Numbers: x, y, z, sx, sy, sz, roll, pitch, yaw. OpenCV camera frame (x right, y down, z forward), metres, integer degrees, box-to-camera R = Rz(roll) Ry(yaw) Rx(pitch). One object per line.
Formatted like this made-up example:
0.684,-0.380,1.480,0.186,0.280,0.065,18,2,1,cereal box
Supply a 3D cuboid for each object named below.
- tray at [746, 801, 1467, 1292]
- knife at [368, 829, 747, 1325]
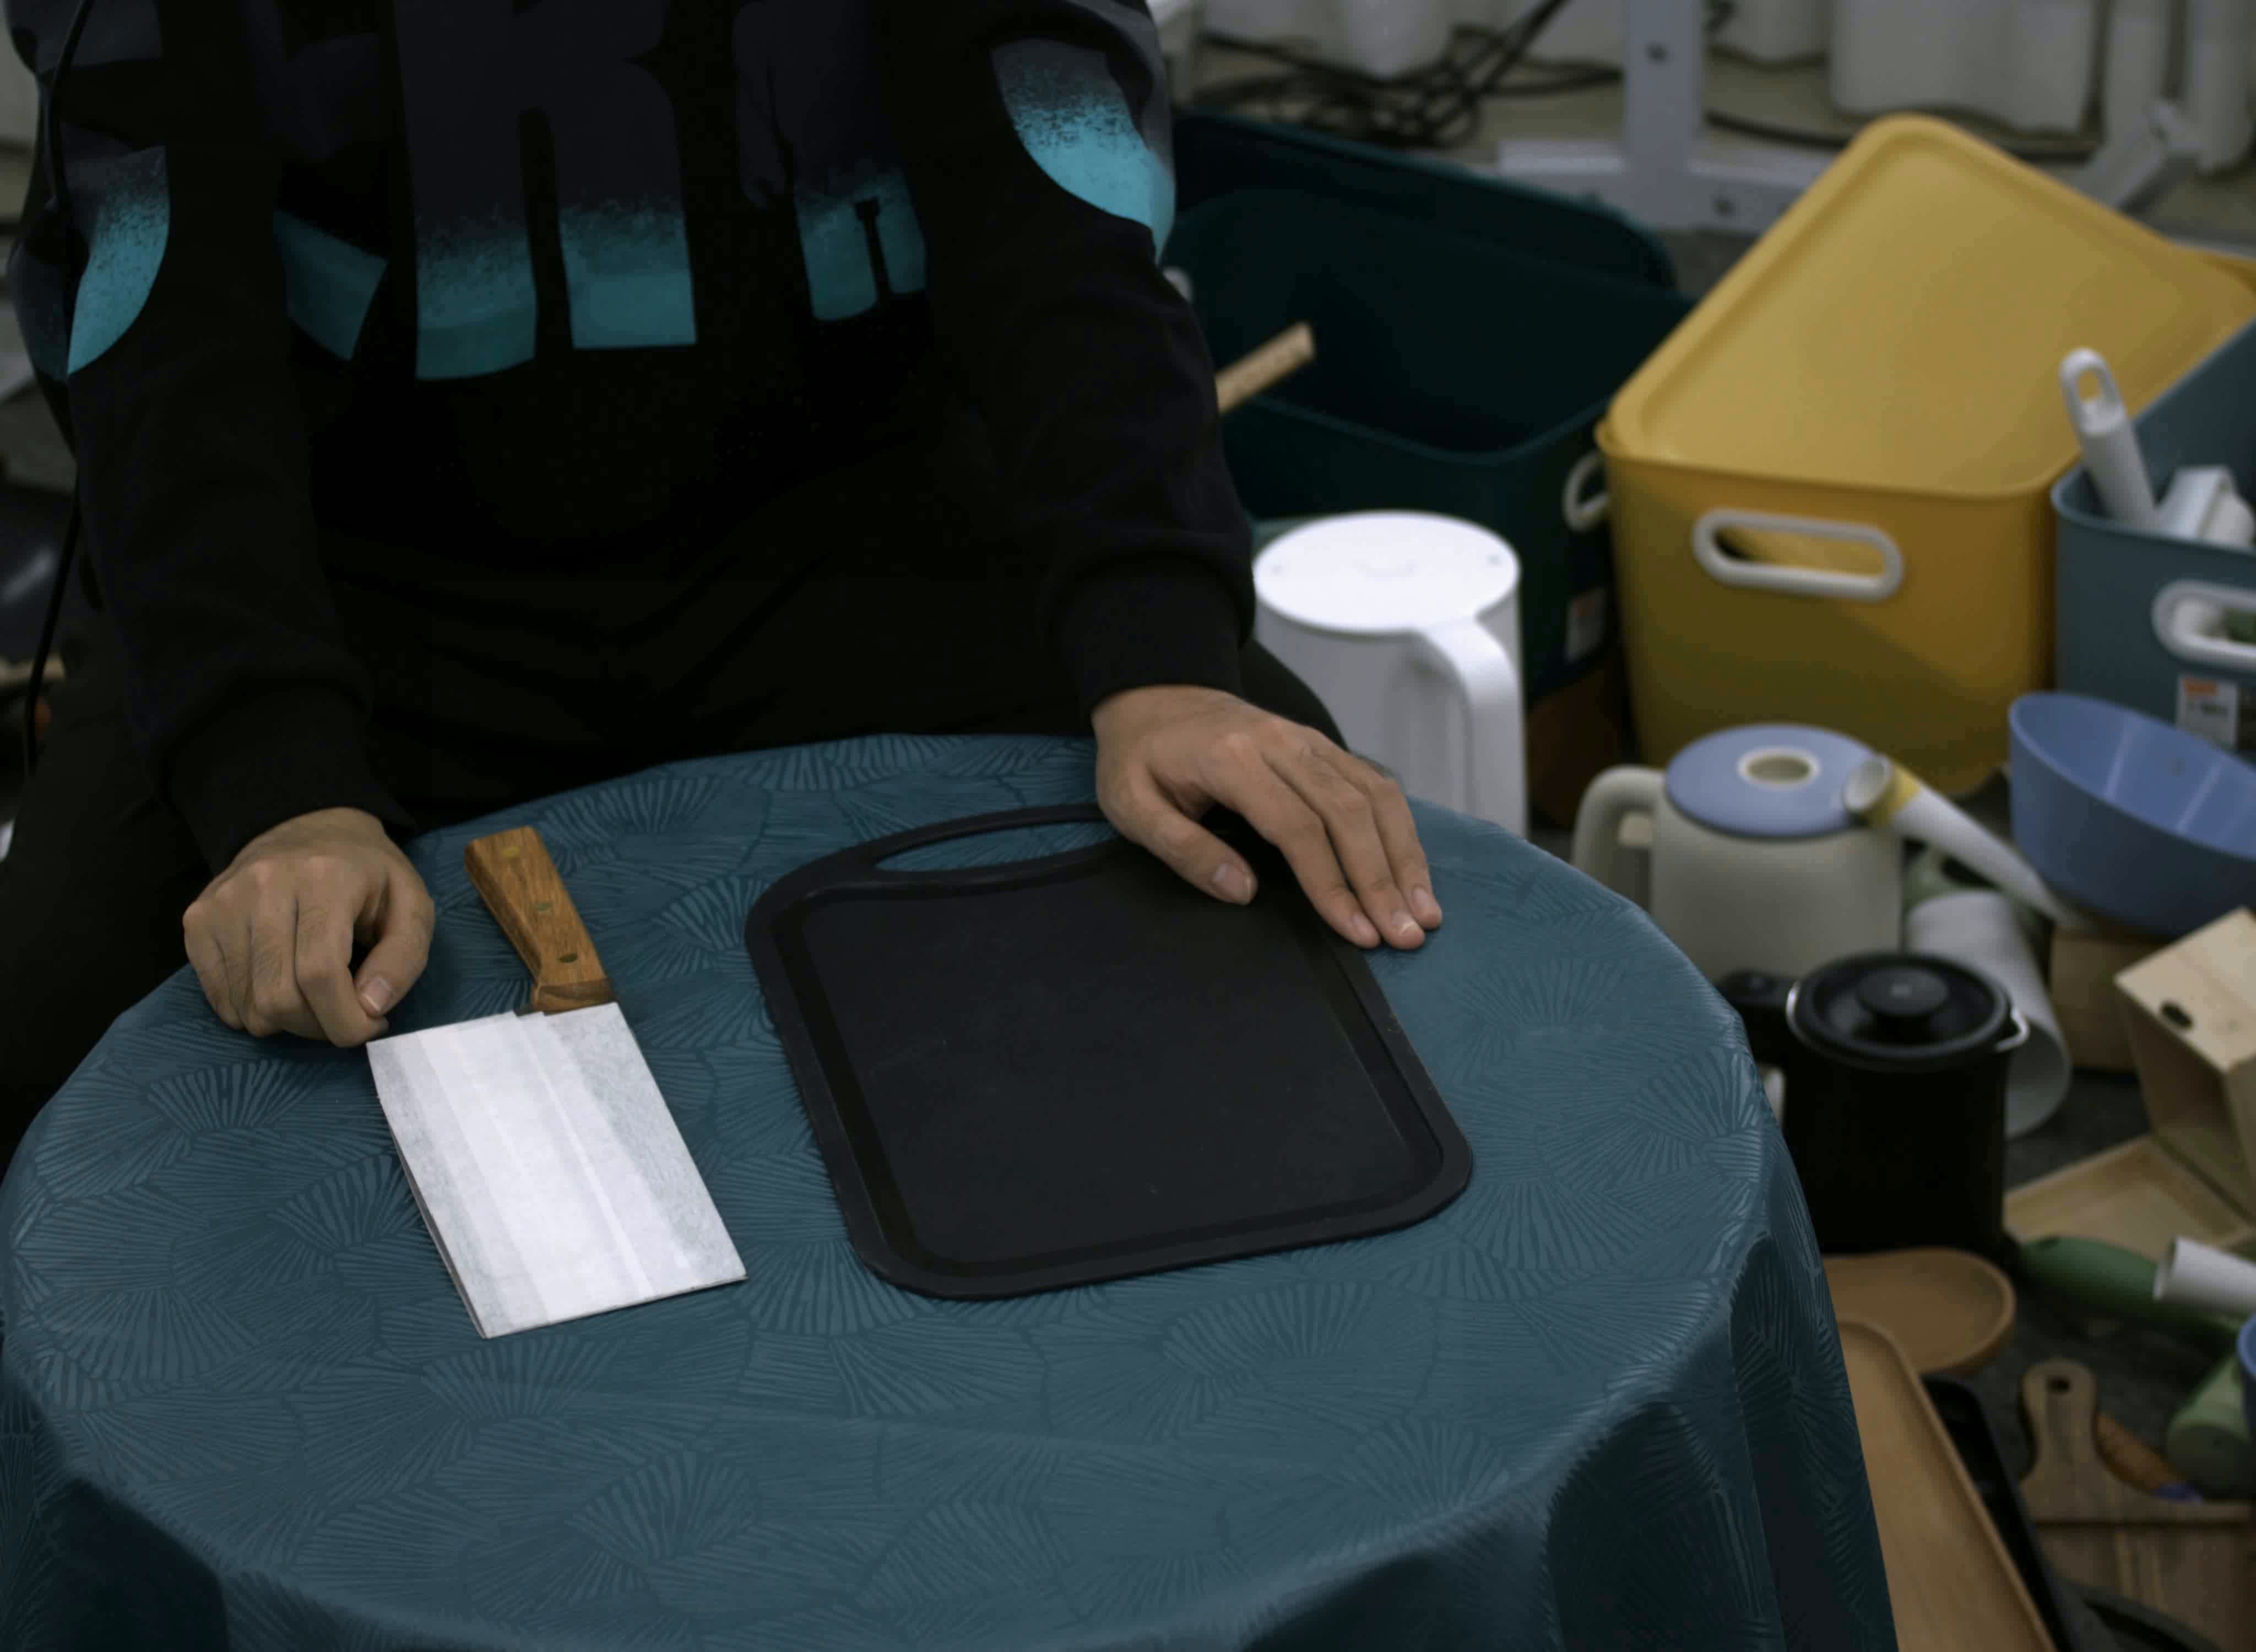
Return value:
-0.016,0.068,1.959,0.211,0.009,0.329,-8,28,-10,tray
-0.211,0.085,1.937,0.093,0.021,0.309,-12,31,-14,knife
